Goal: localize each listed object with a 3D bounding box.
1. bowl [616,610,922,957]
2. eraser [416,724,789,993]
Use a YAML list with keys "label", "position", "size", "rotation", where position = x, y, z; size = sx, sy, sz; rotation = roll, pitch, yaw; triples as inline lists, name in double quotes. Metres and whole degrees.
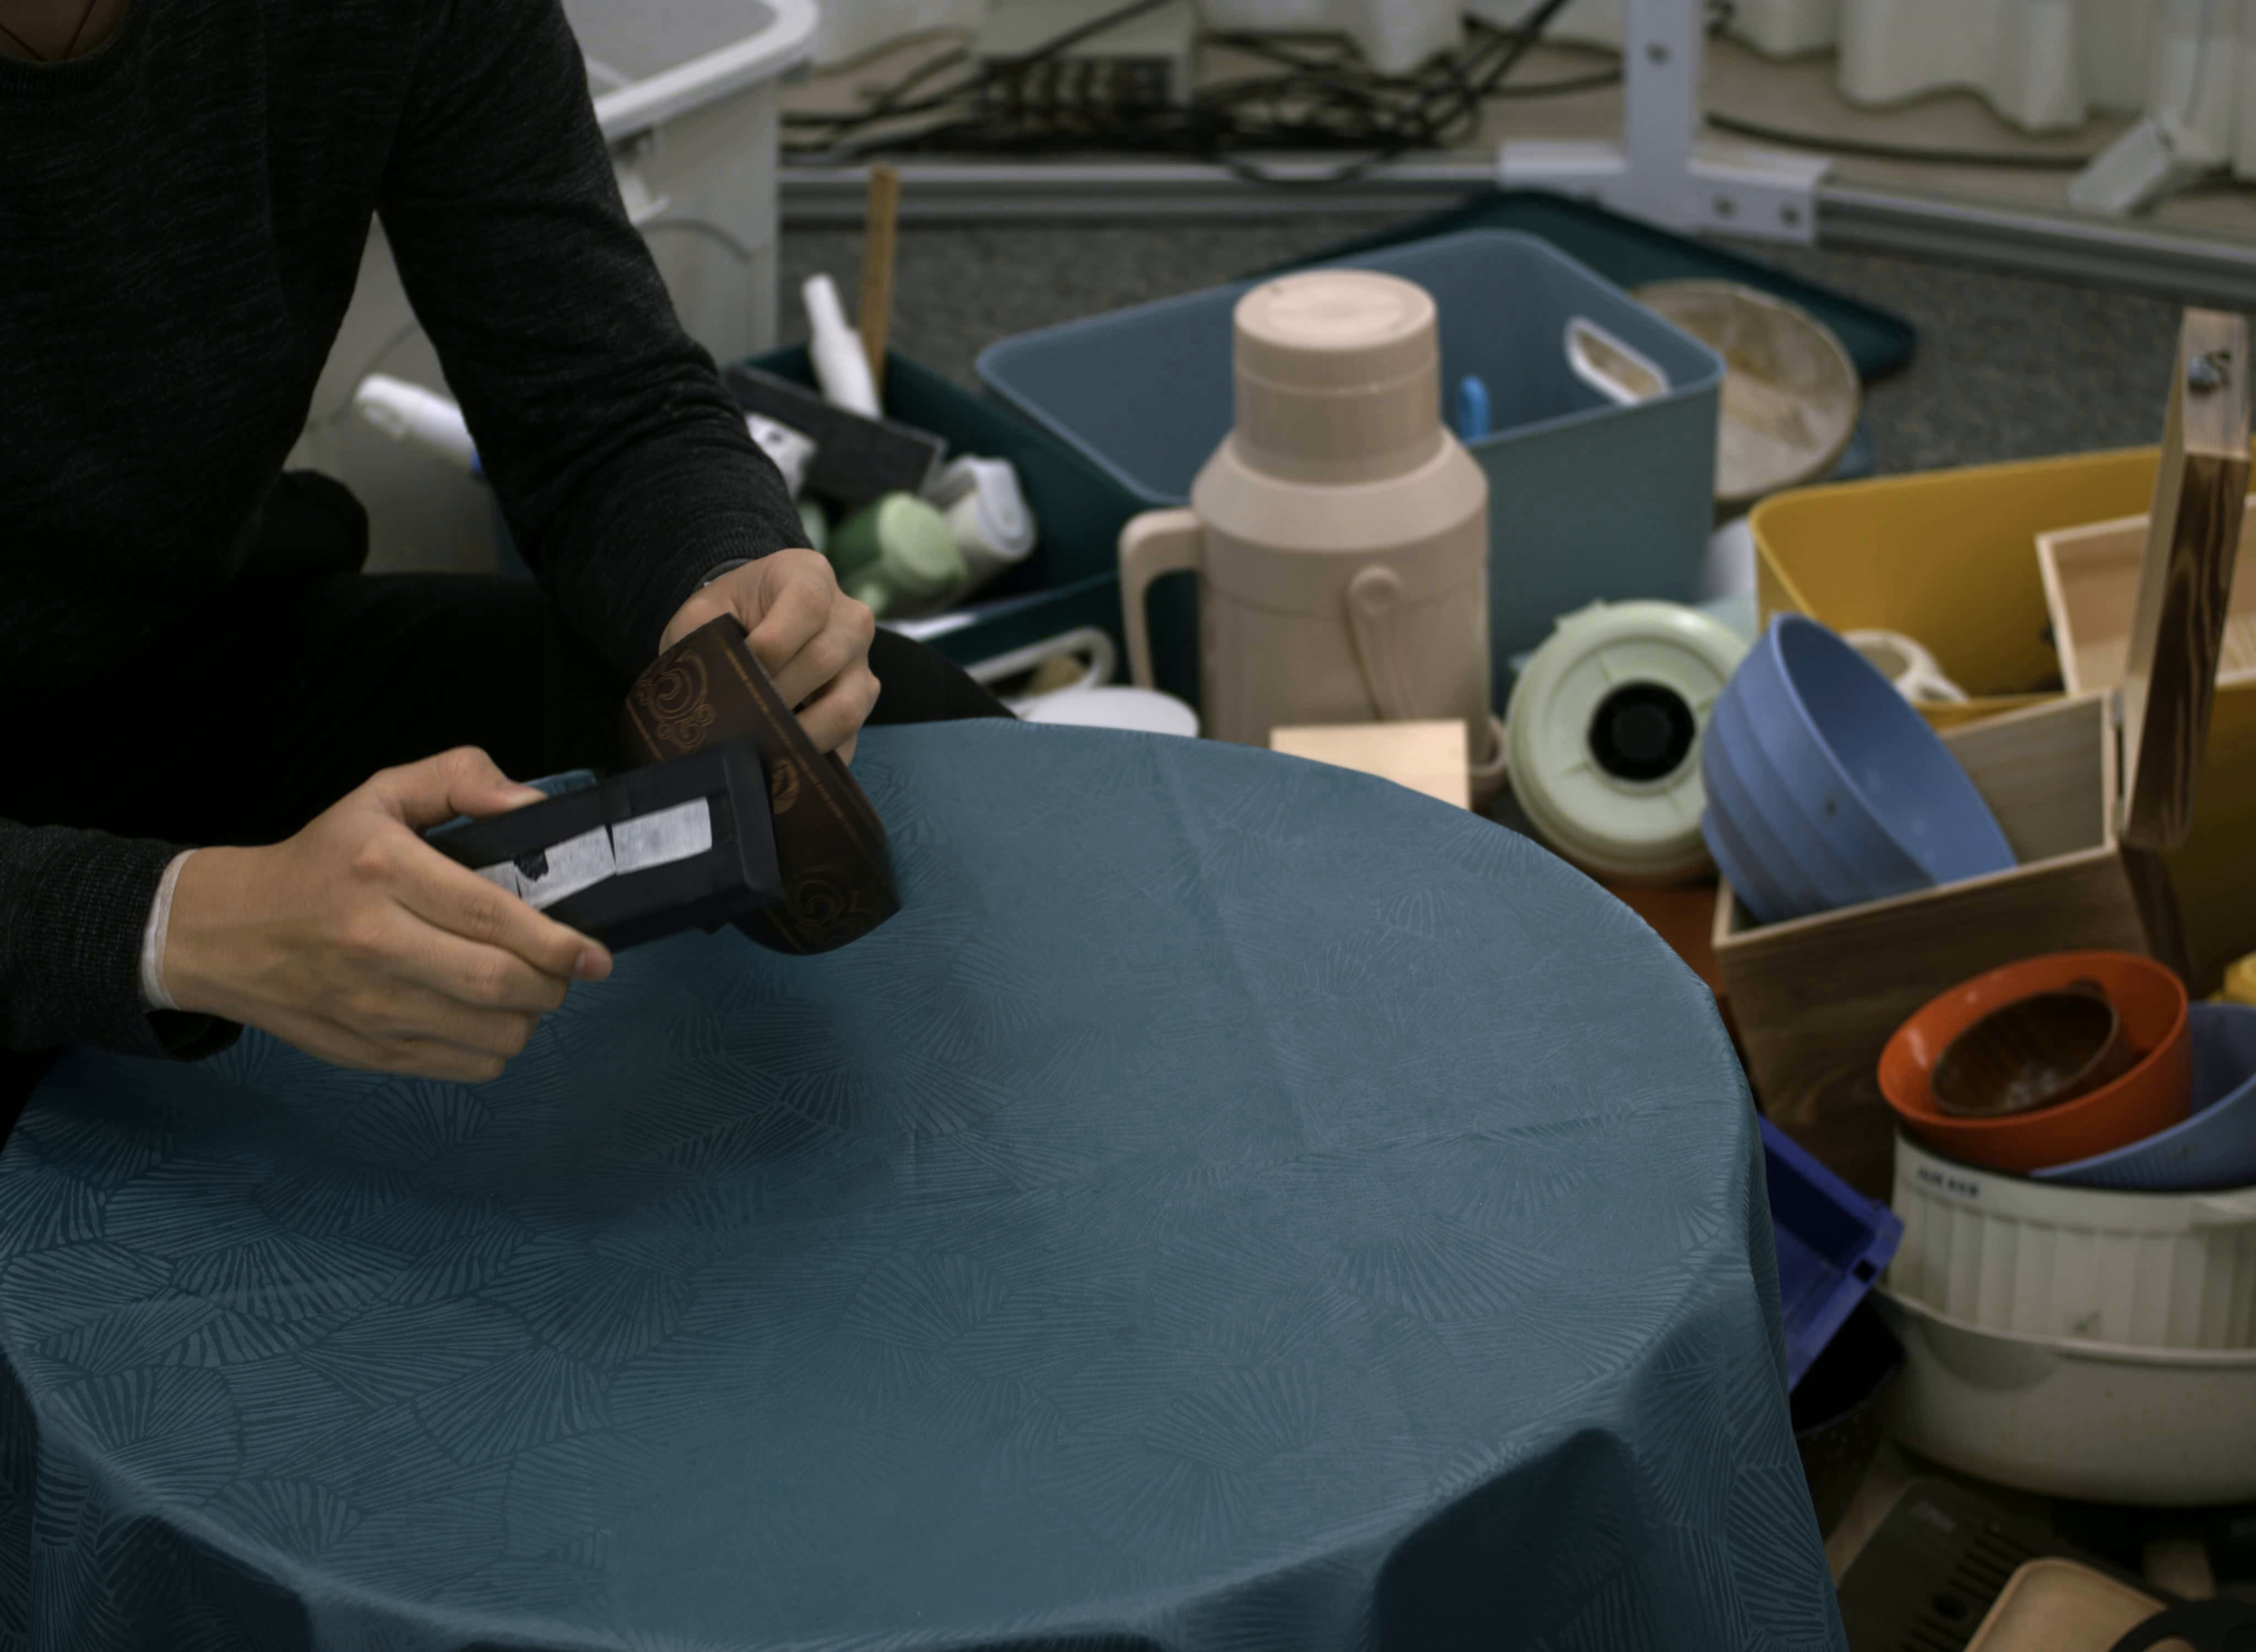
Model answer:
- label: "bowl"
  position: [-0.129, -0.006, 1.881]
  size: [0.070, 0.117, 0.119]
  rotation: [-35, 32, -1]
- label: "eraser"
  position: [-0.170, 0.011, 1.822]
  size: [0.124, 0.054, 0.030]
  rotation: [-19, -19, 22]
